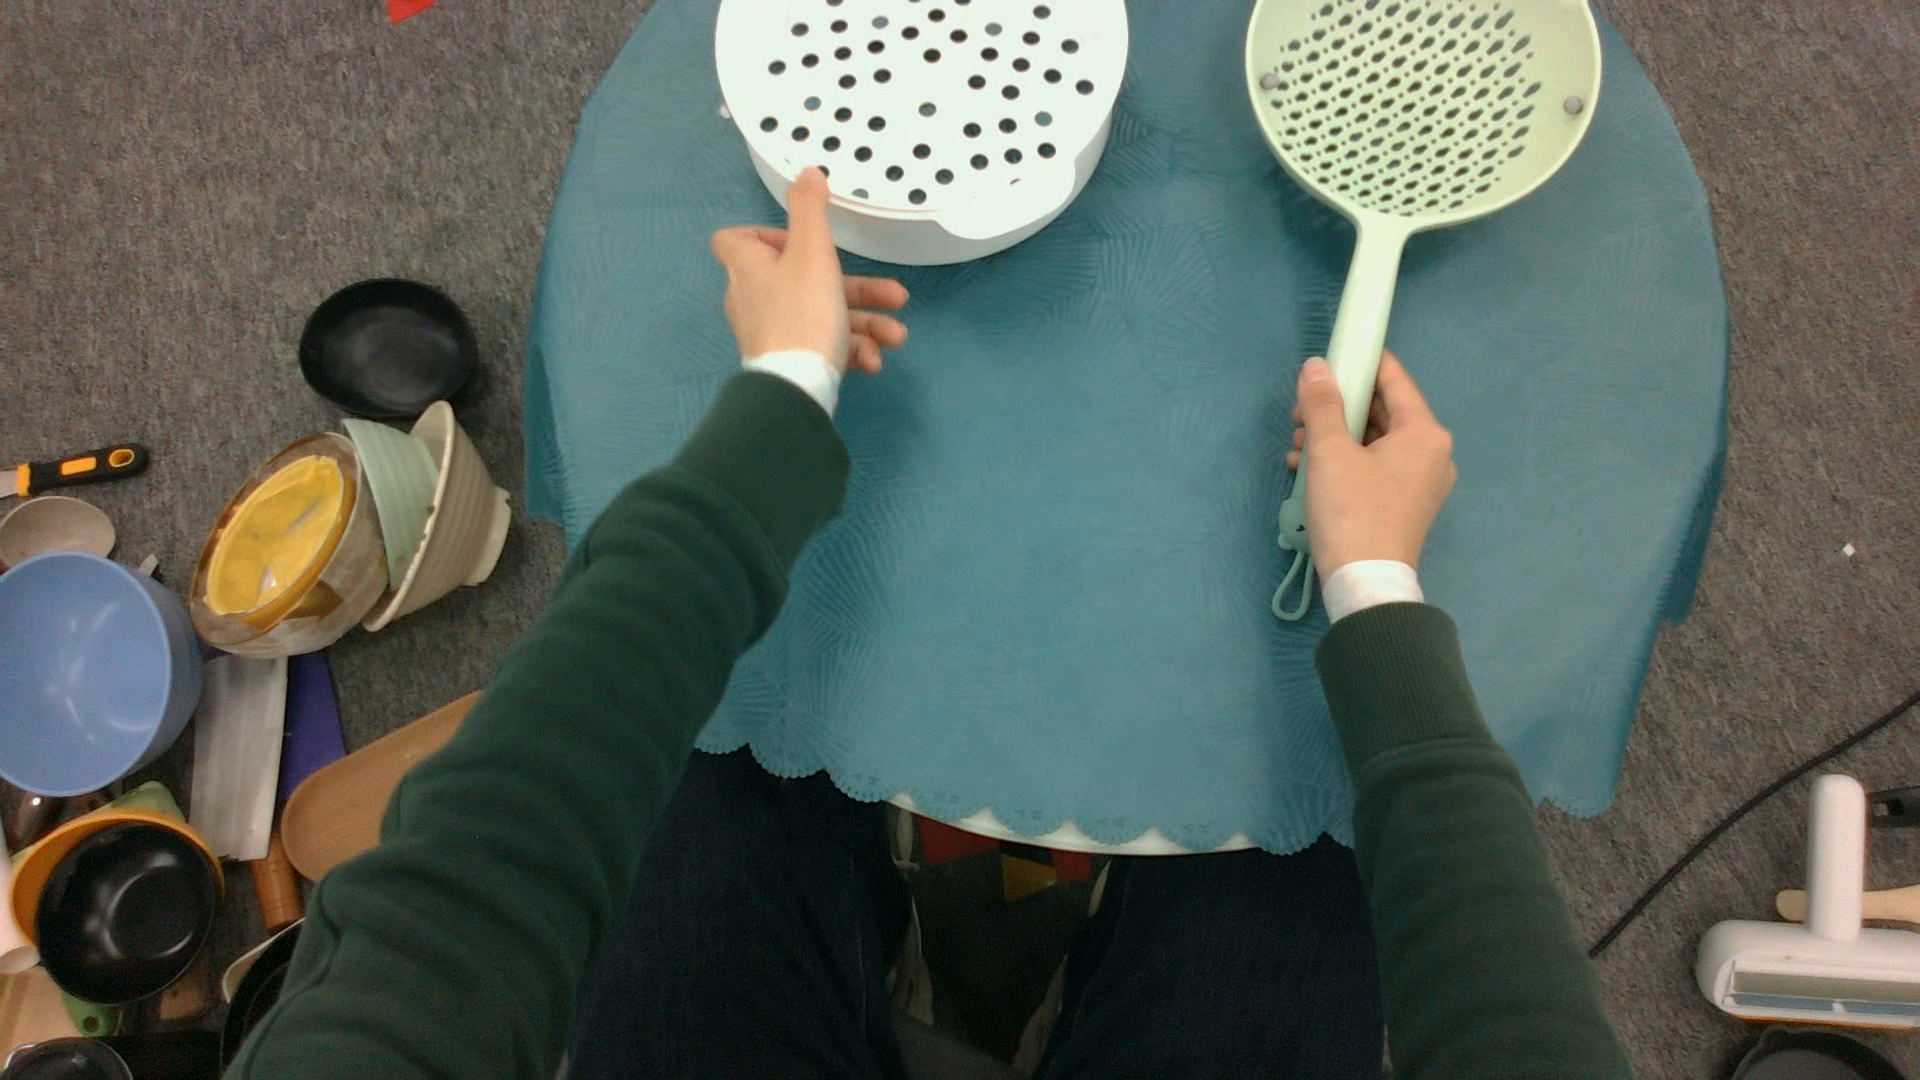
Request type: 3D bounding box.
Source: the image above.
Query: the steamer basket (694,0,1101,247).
[{"bbox_3d":[-0.031,-0.247,0.706,0.202,0.069,0.231,-26,73,-7],"label":"steamer basket"}]

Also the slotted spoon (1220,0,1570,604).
[{"bbox_3d":[0.190,-0.146,0.670,0.169,0.075,0.360,13,71,7],"label":"slotted spoon"}]
